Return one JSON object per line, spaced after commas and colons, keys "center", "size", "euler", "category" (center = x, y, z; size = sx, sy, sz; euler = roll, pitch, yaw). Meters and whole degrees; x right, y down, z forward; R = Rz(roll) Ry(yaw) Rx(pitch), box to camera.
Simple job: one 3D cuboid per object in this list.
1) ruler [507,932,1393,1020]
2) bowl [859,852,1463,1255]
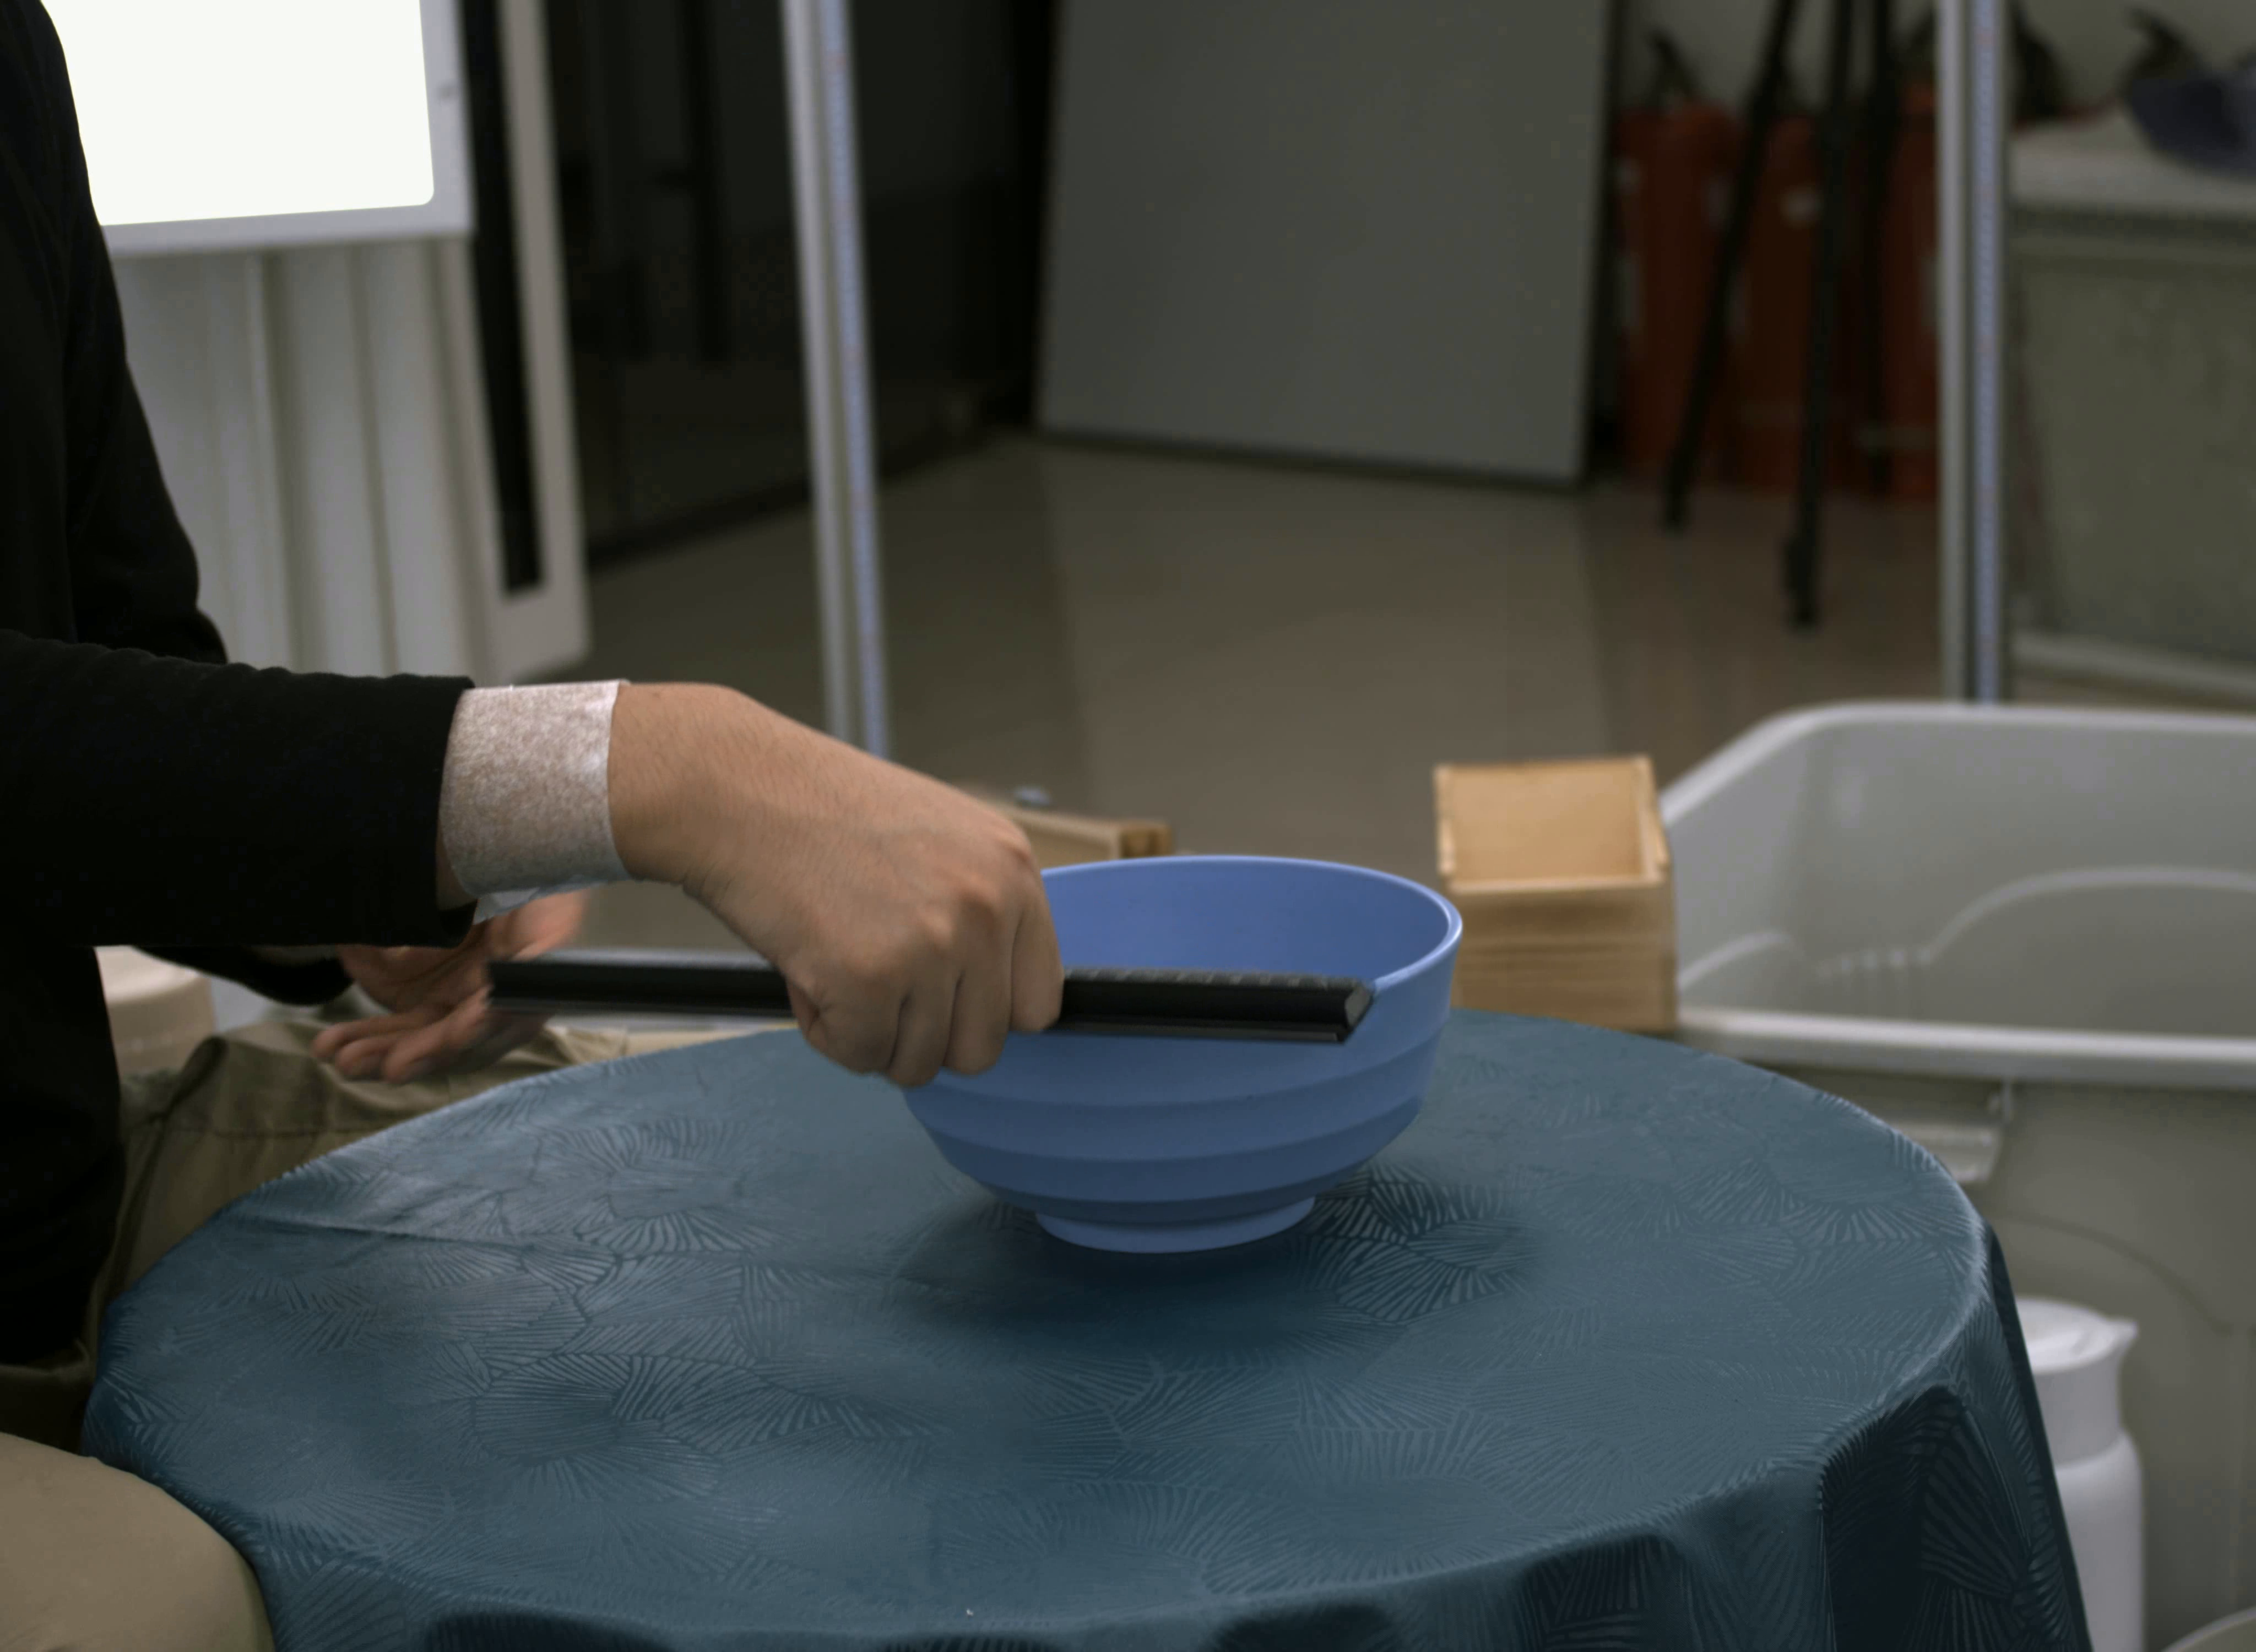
{"center": [-0.060, 0.038, 1.616], "size": [0.314, 0.017, 0.039], "euler": [1, 25, 36], "category": "ruler"}
{"center": [0.013, 0.079, 1.737], "size": [0.194, 0.096, 0.197], "euler": [-3, 14, 0], "category": "bowl"}
